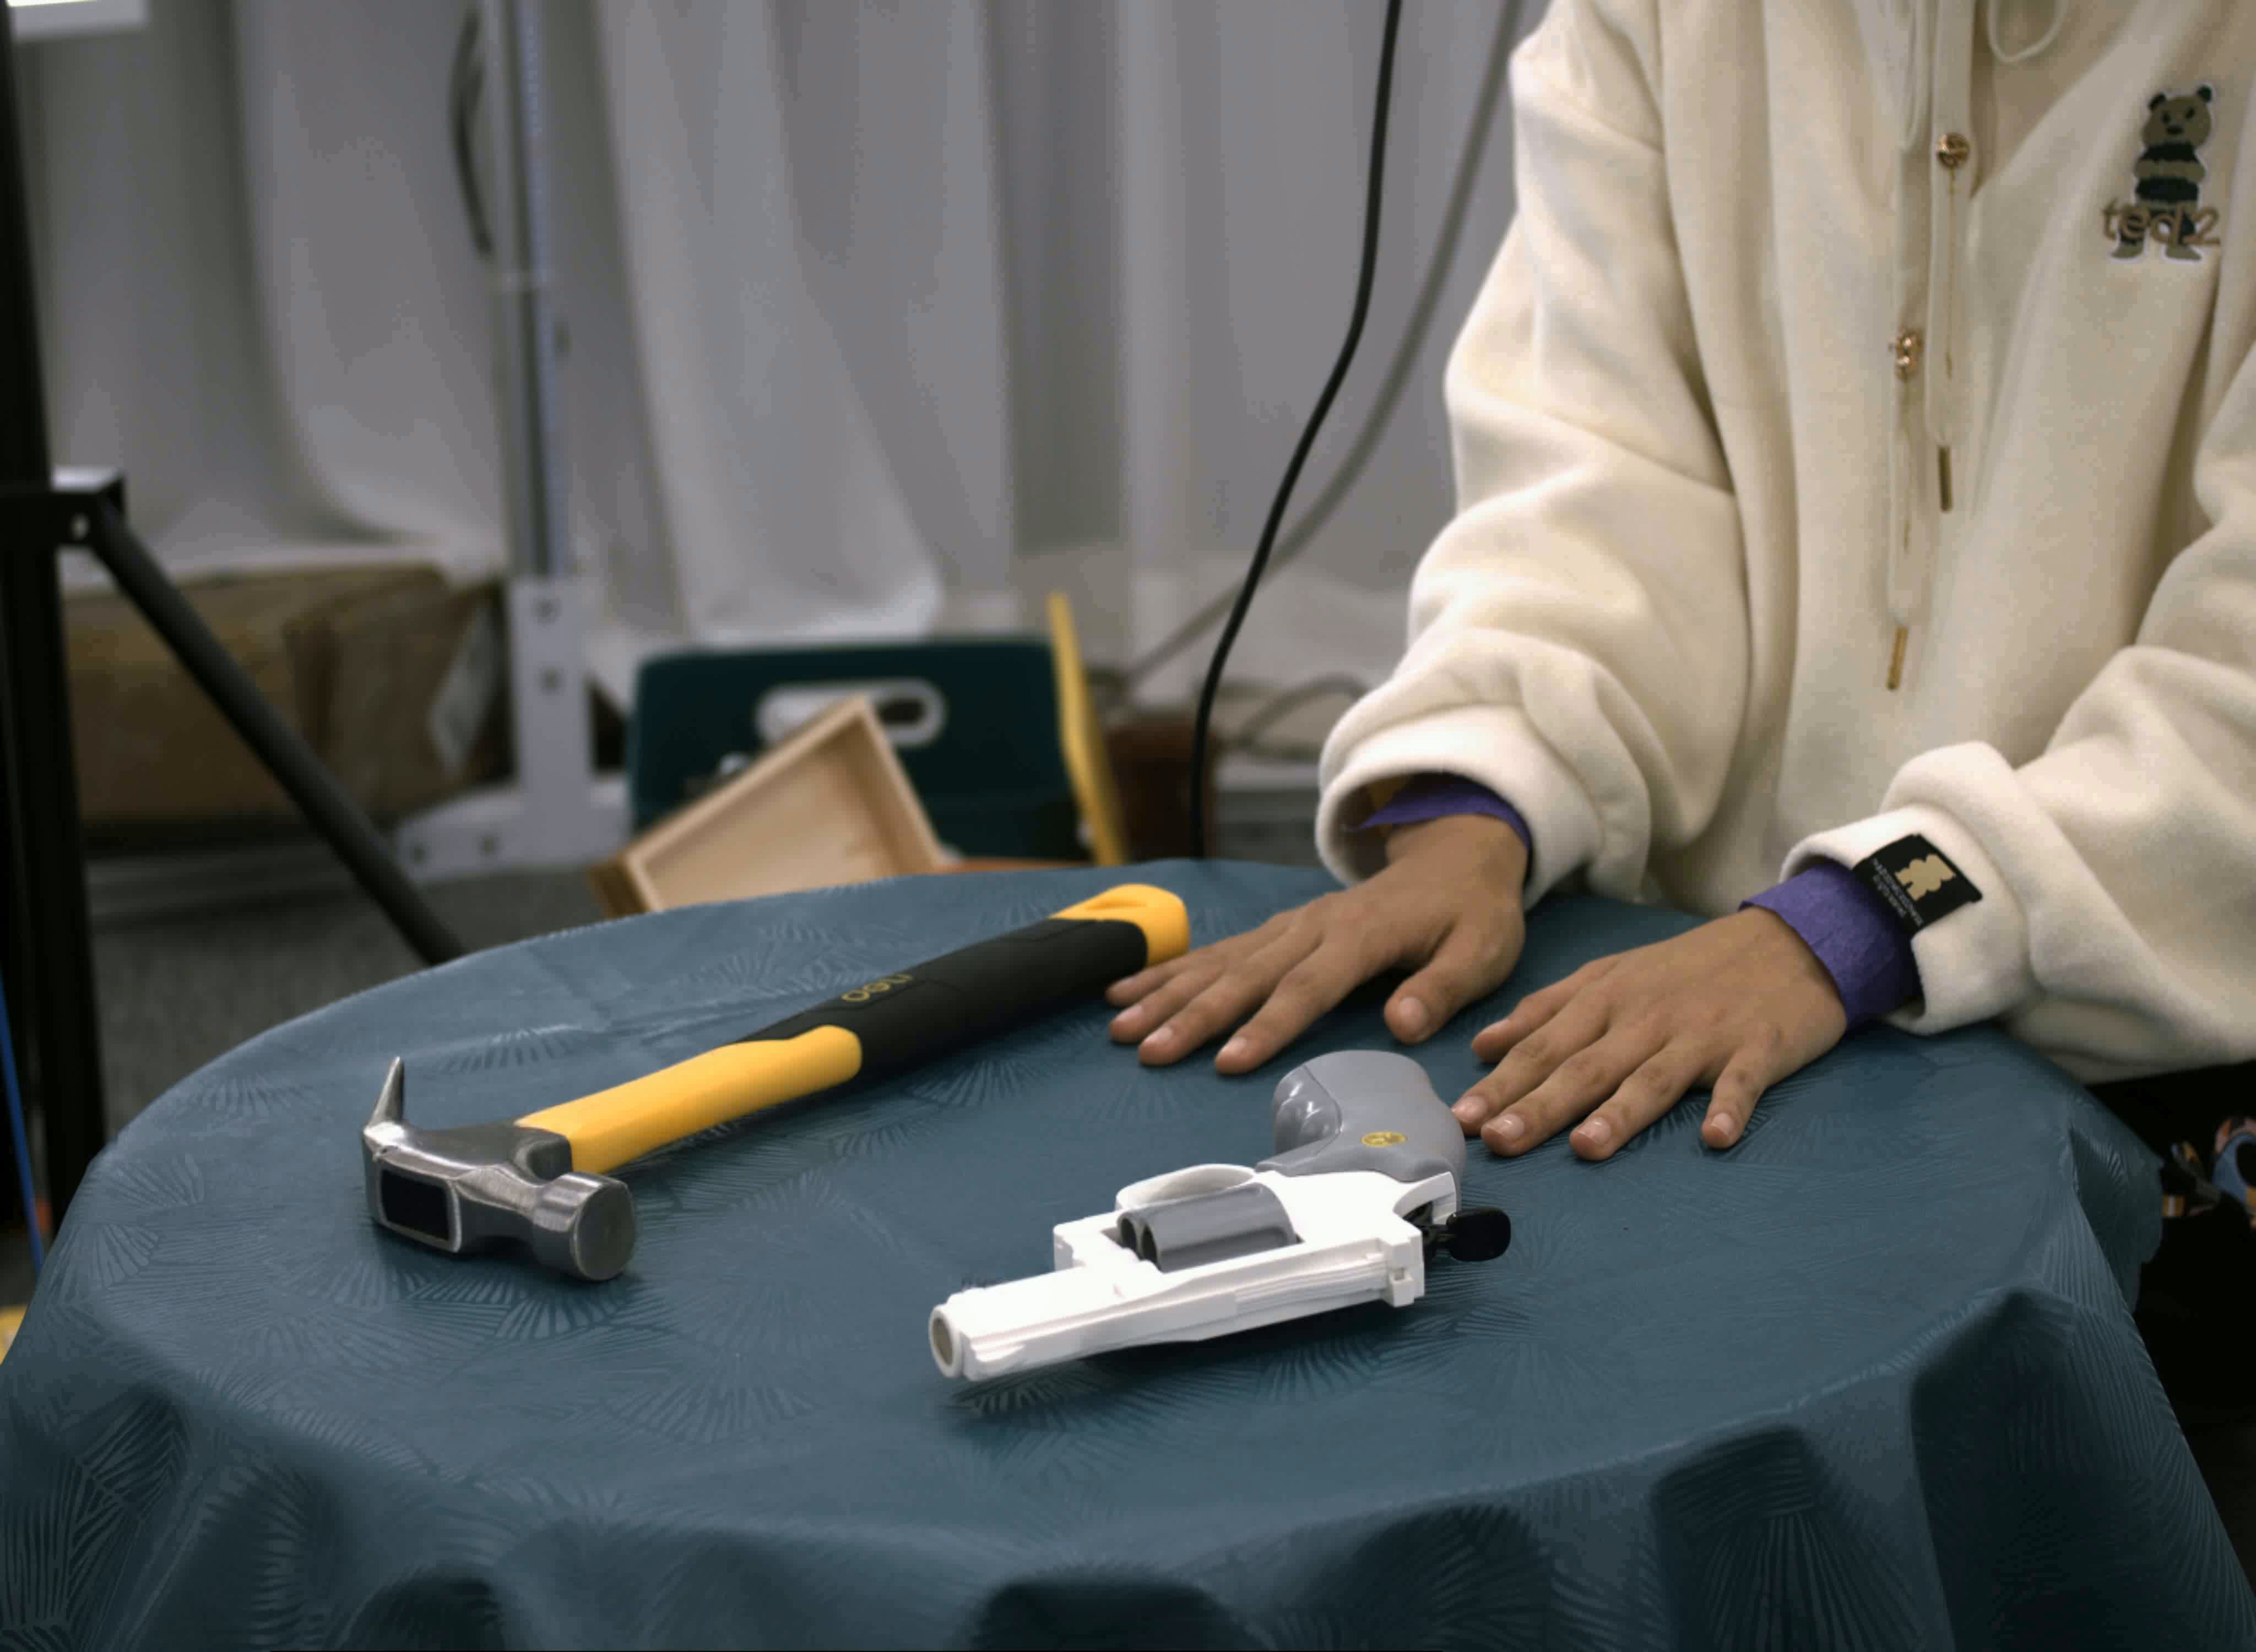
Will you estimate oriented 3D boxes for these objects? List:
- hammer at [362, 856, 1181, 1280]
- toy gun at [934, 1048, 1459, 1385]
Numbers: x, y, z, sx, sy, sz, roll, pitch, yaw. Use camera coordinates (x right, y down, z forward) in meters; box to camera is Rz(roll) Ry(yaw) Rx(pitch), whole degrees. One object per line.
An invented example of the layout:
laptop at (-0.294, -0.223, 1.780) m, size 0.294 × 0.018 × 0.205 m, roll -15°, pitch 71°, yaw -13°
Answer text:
hammer at (-0.099, 0.065, 1.653) m, size 0.134 × 0.032 × 0.331 m, roll 9°, pitch 21°, yaw 40°
toy gun at (0.022, 0.109, 1.477) m, size 0.205 × 0.039 × 0.144 m, roll -10°, pitch 18°, yaw -25°
